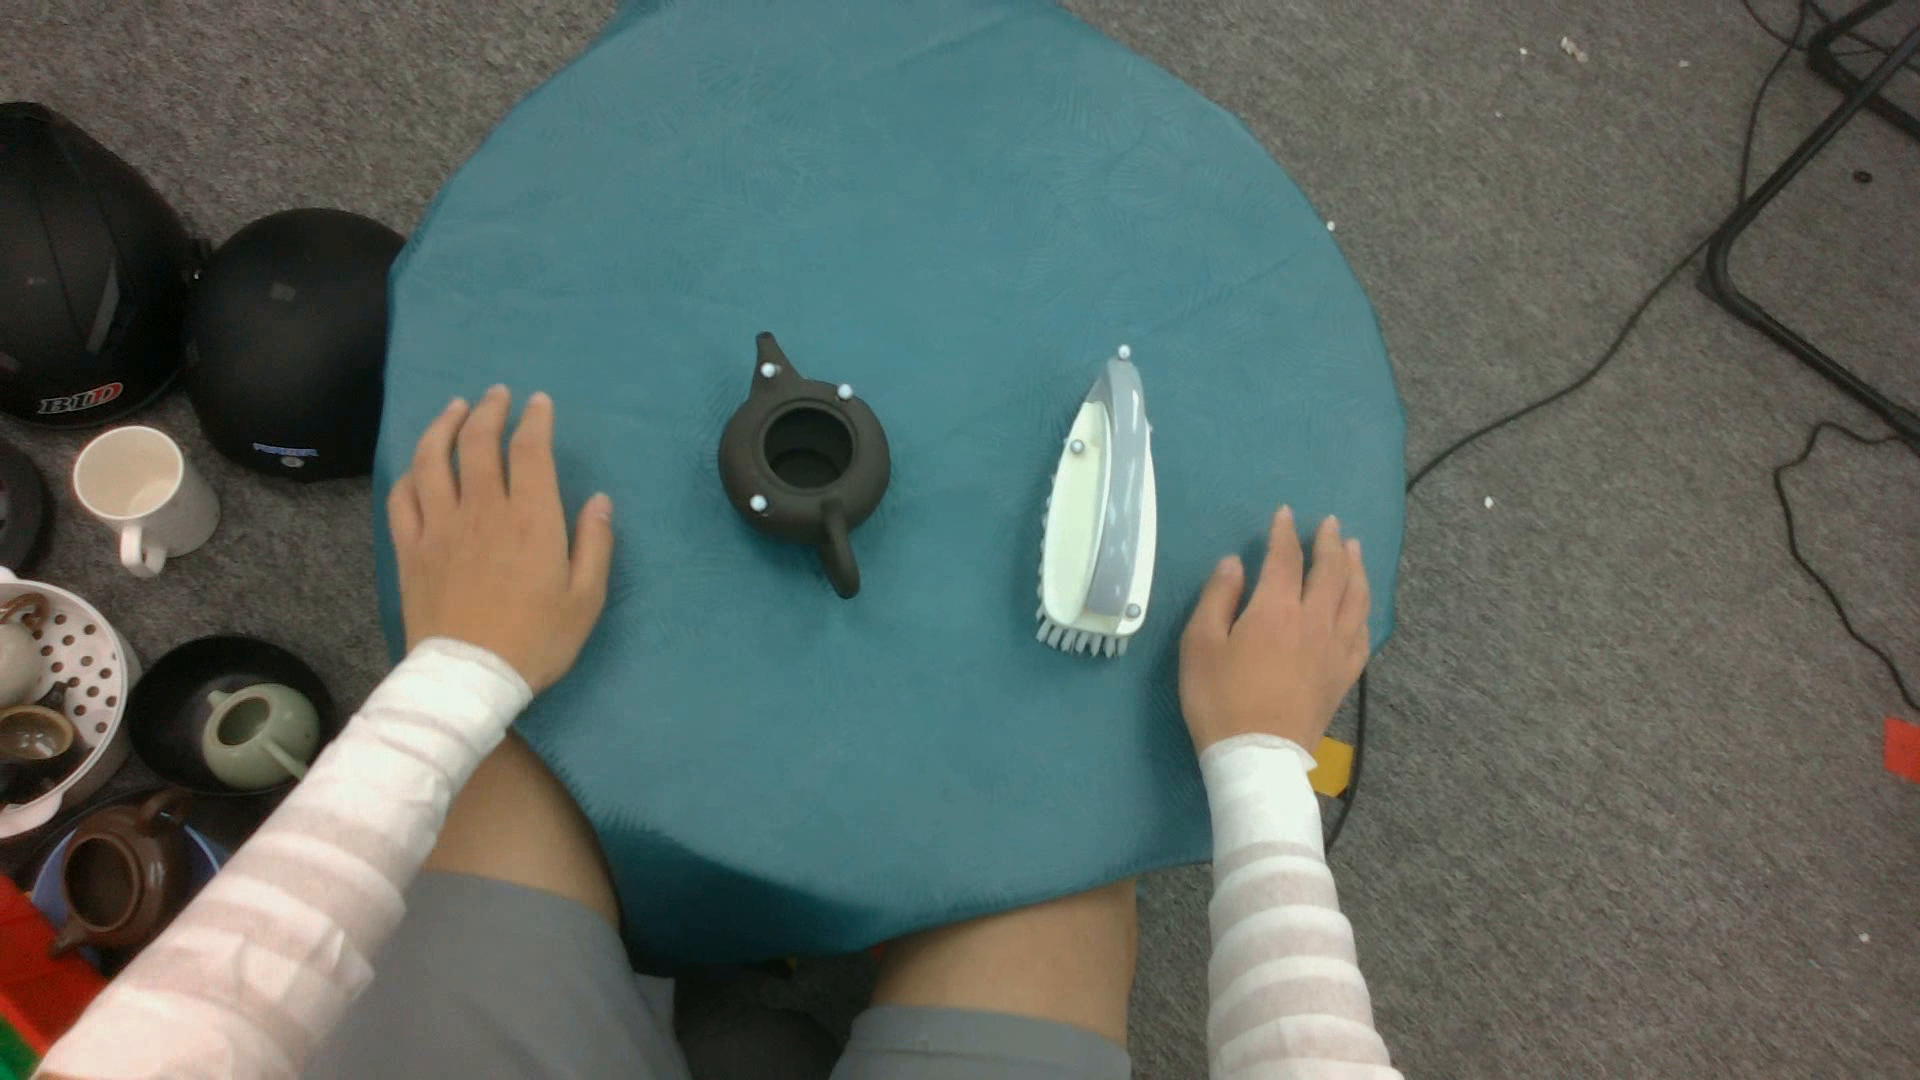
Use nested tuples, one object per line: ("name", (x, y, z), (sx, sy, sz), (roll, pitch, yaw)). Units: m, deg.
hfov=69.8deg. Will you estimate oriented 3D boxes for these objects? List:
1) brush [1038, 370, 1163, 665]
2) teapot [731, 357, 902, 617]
("brush", (0.085, -0.026, 0.768), (0.061, 0.094, 0.176), (11, 65, -9))
("teapot", (-0.078, -0.027, 0.756), (0.092, 0.064, 0.154), (-17, 70, -15))
